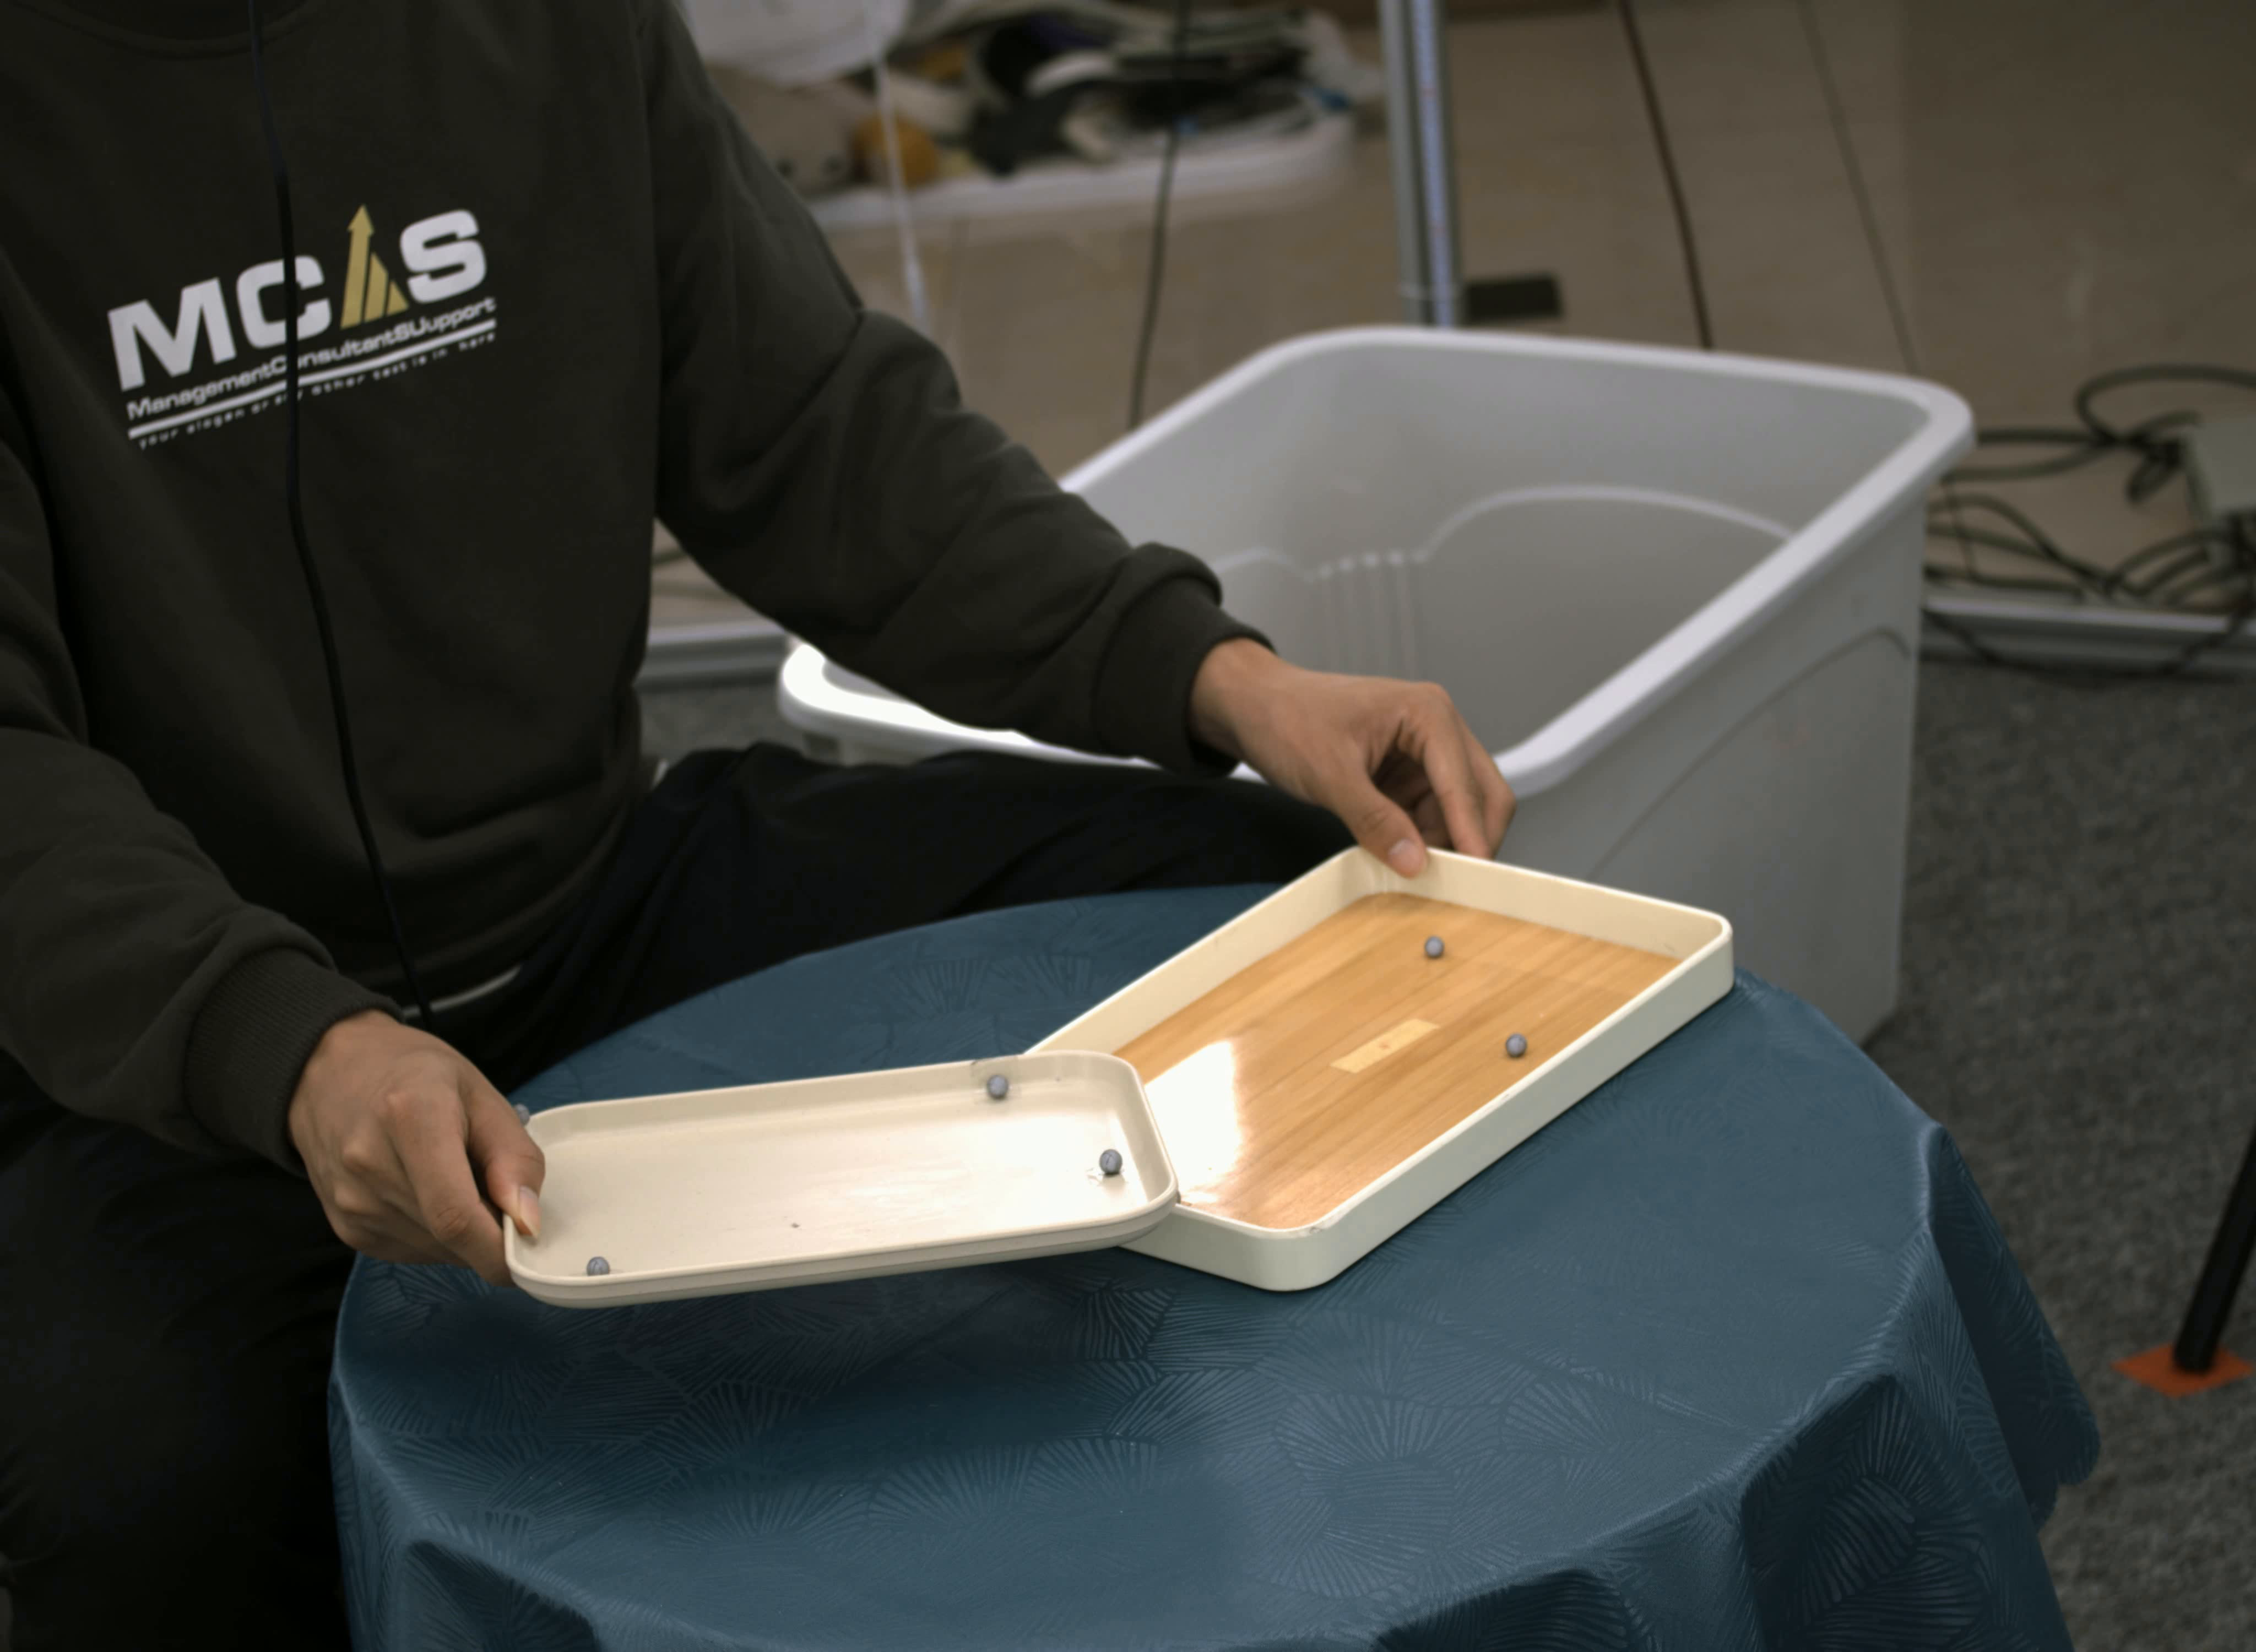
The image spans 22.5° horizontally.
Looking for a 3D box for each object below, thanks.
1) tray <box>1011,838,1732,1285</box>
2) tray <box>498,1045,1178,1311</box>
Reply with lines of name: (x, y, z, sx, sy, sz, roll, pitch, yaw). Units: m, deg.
tray: (0.081, 0.087, 2.208, 0.190, 0.028, 0.297, 13, 31, 37)
tray: (-0.107, 0.128, 2.052, 0.239, 0.018, 0.169, -6, 20, -6)
